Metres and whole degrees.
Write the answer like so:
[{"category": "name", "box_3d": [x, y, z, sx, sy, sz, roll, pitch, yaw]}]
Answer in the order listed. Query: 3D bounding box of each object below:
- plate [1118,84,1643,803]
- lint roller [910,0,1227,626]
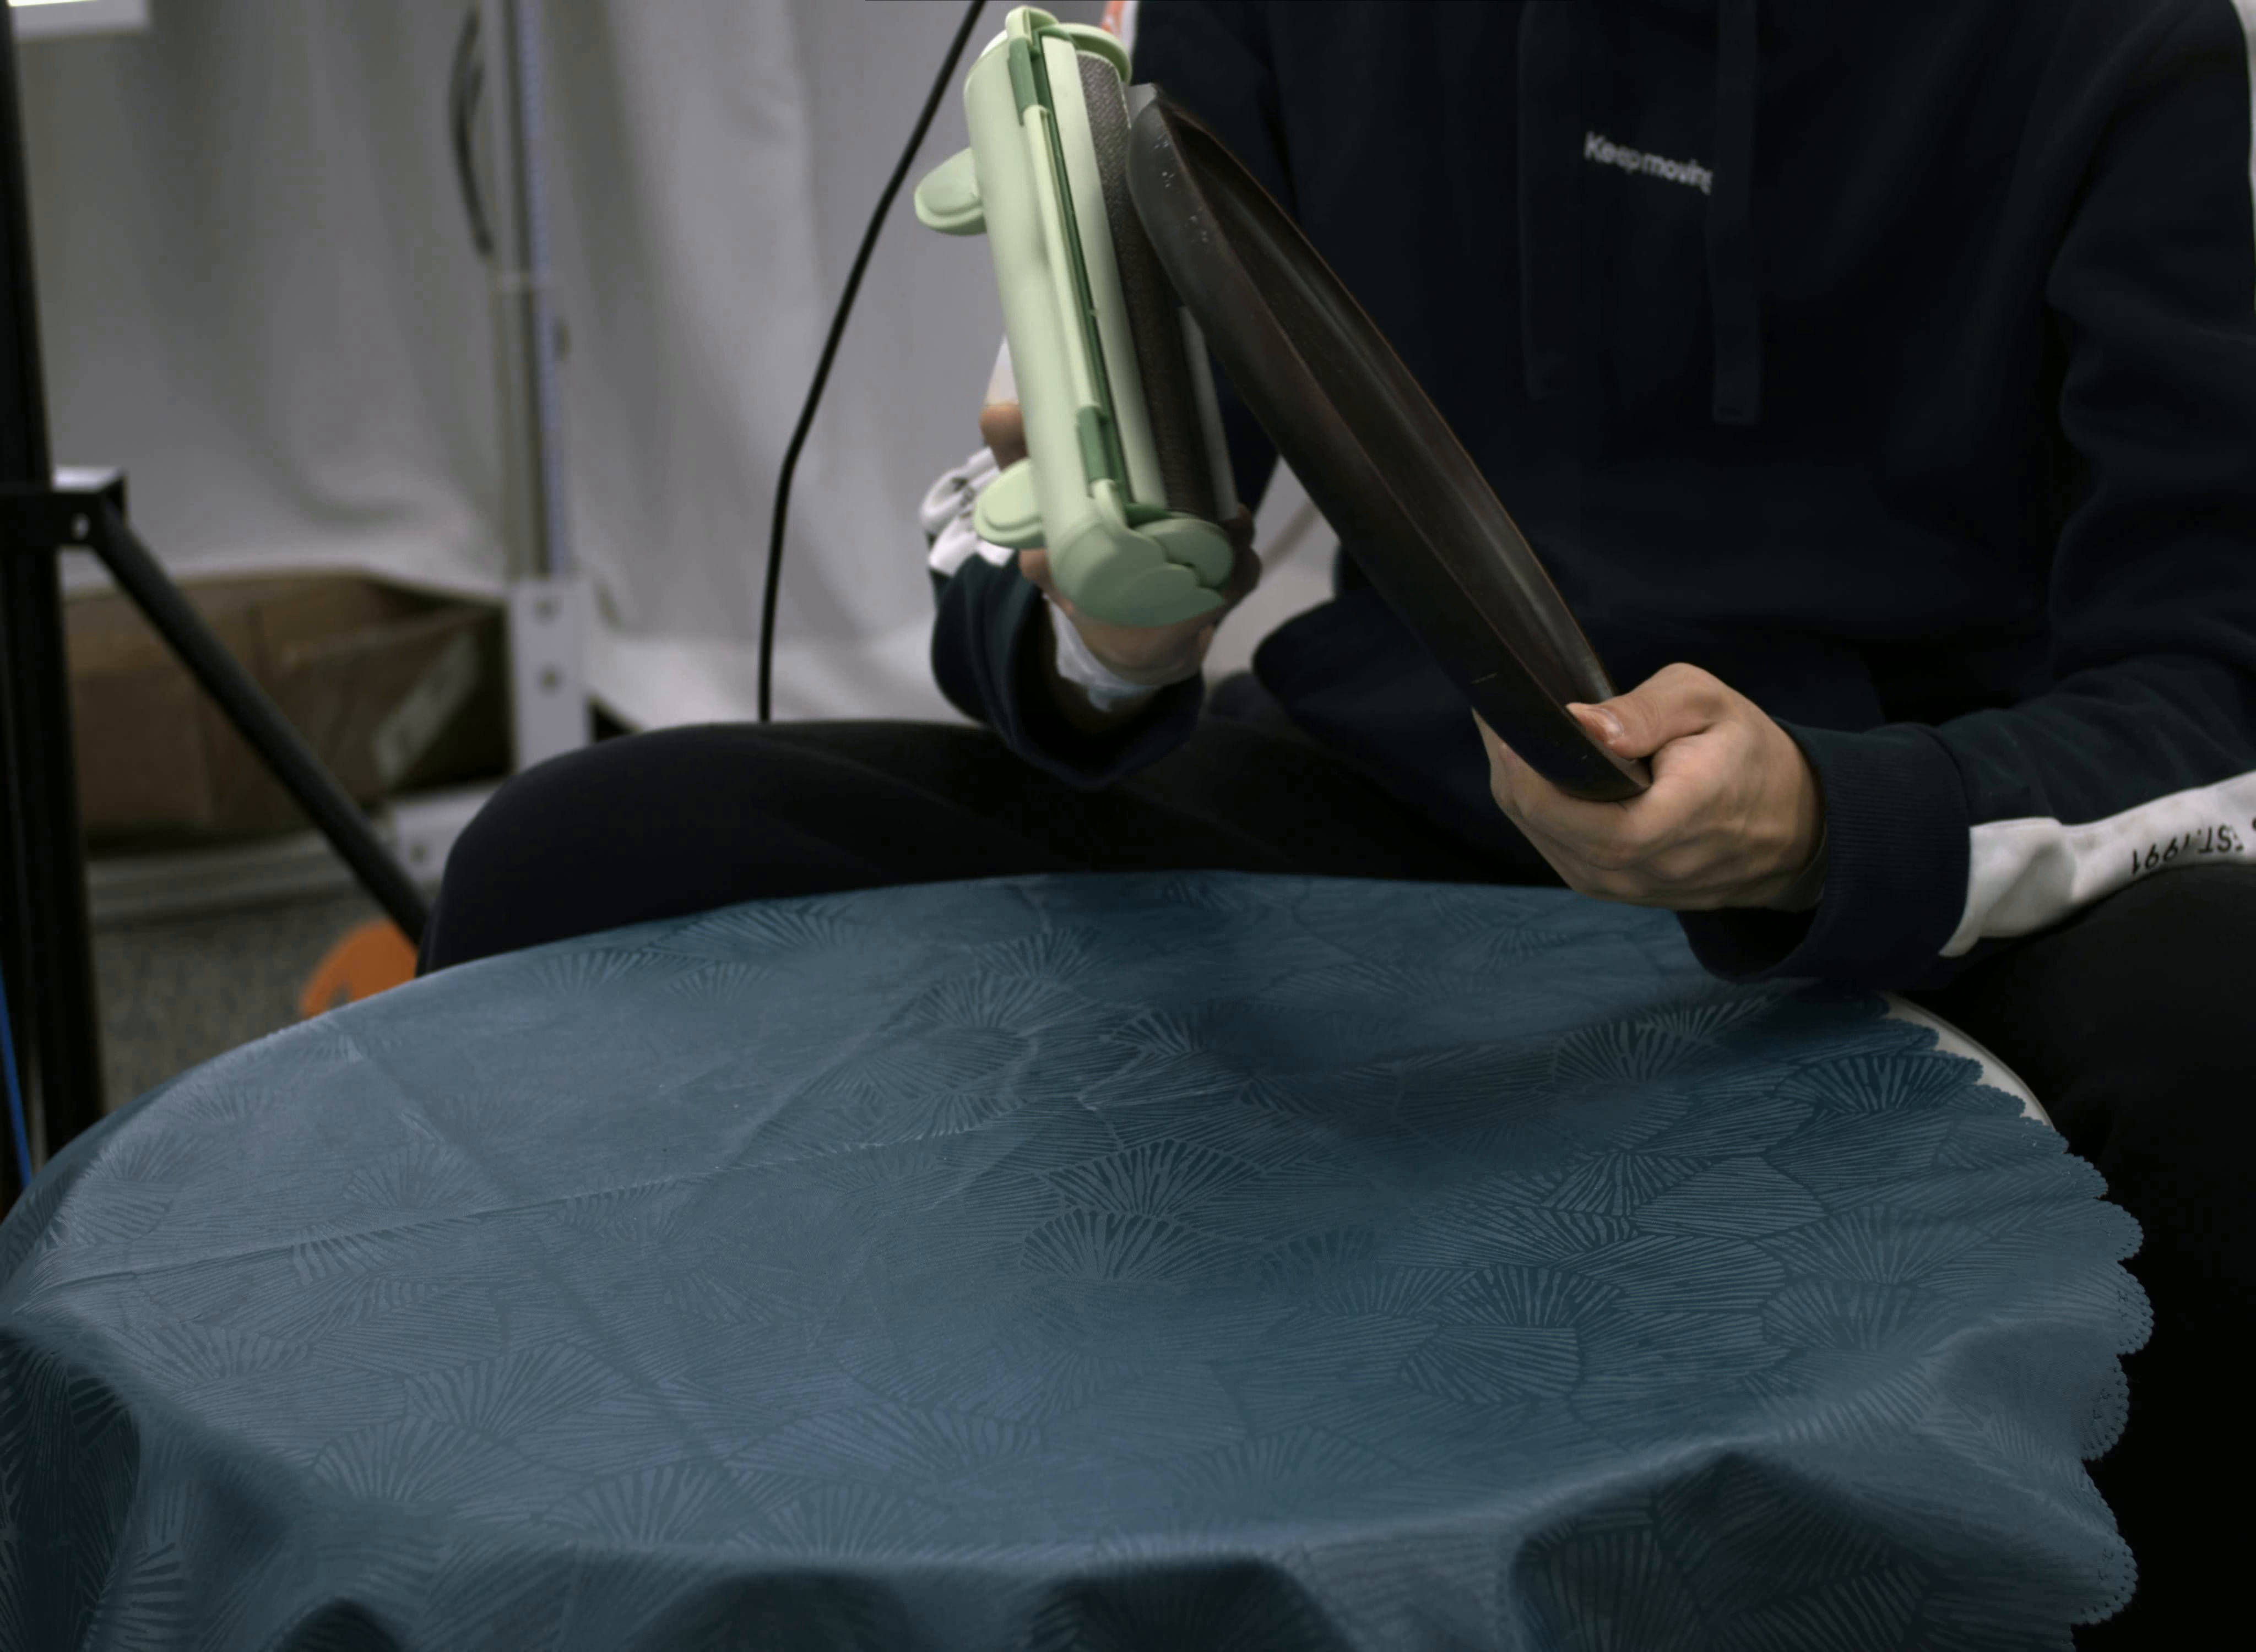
[{"category": "plate", "box_3d": [0.075, -0.110, 1.578, 0.029, 0.253, 0.255, -37, 11, 11]}, {"category": "lint roller", "box_3d": [-0.018, -0.125, 1.647, 0.081, 0.182, 0.201, -8, 60, -4]}]
